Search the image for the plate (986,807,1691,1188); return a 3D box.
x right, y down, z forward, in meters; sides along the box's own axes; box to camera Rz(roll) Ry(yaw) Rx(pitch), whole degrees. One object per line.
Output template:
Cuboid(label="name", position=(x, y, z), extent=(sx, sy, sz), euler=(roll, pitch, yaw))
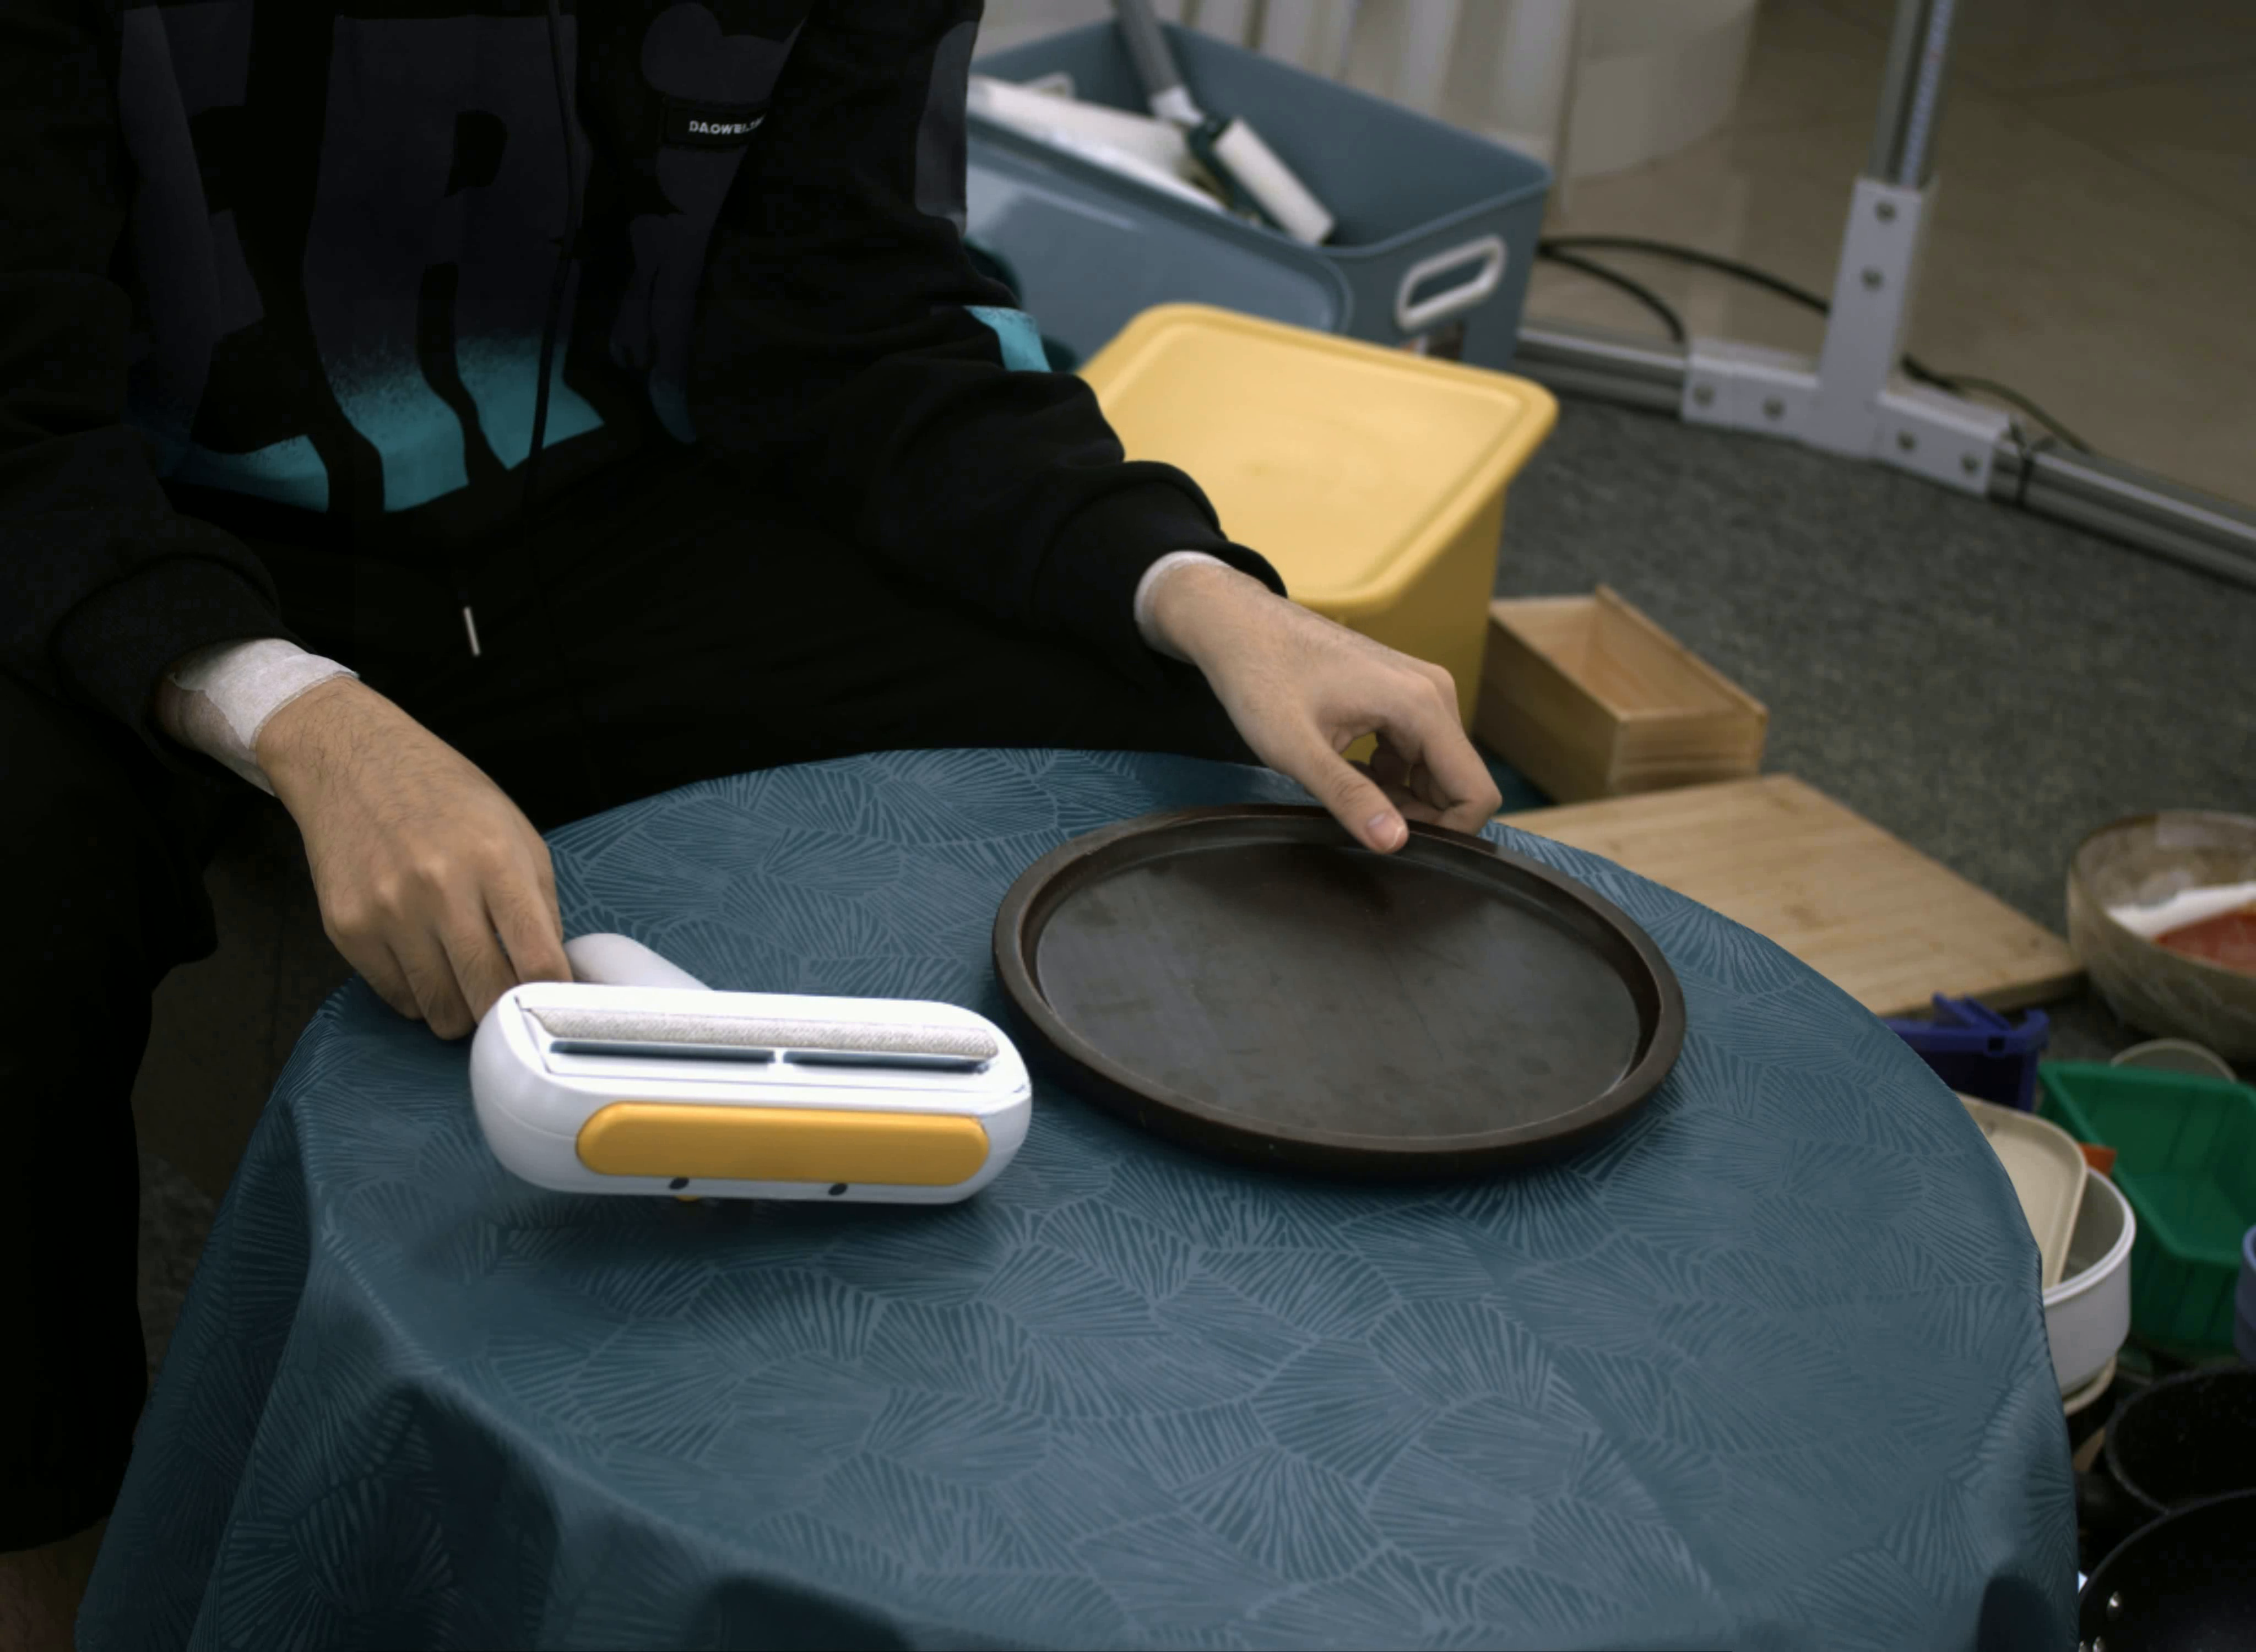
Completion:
Cuboid(label="plate", position=(0.074, 0.060, 1.915), extent=(0.254, 0.029, 0.256), euler=(4, 26, -2))

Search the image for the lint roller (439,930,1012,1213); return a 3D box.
Cuboid(label="lint roller", position=(-0.151, 0.069, 1.798), extent=(0.191, 0.074, 0.194), euler=(1, 25, -22))
